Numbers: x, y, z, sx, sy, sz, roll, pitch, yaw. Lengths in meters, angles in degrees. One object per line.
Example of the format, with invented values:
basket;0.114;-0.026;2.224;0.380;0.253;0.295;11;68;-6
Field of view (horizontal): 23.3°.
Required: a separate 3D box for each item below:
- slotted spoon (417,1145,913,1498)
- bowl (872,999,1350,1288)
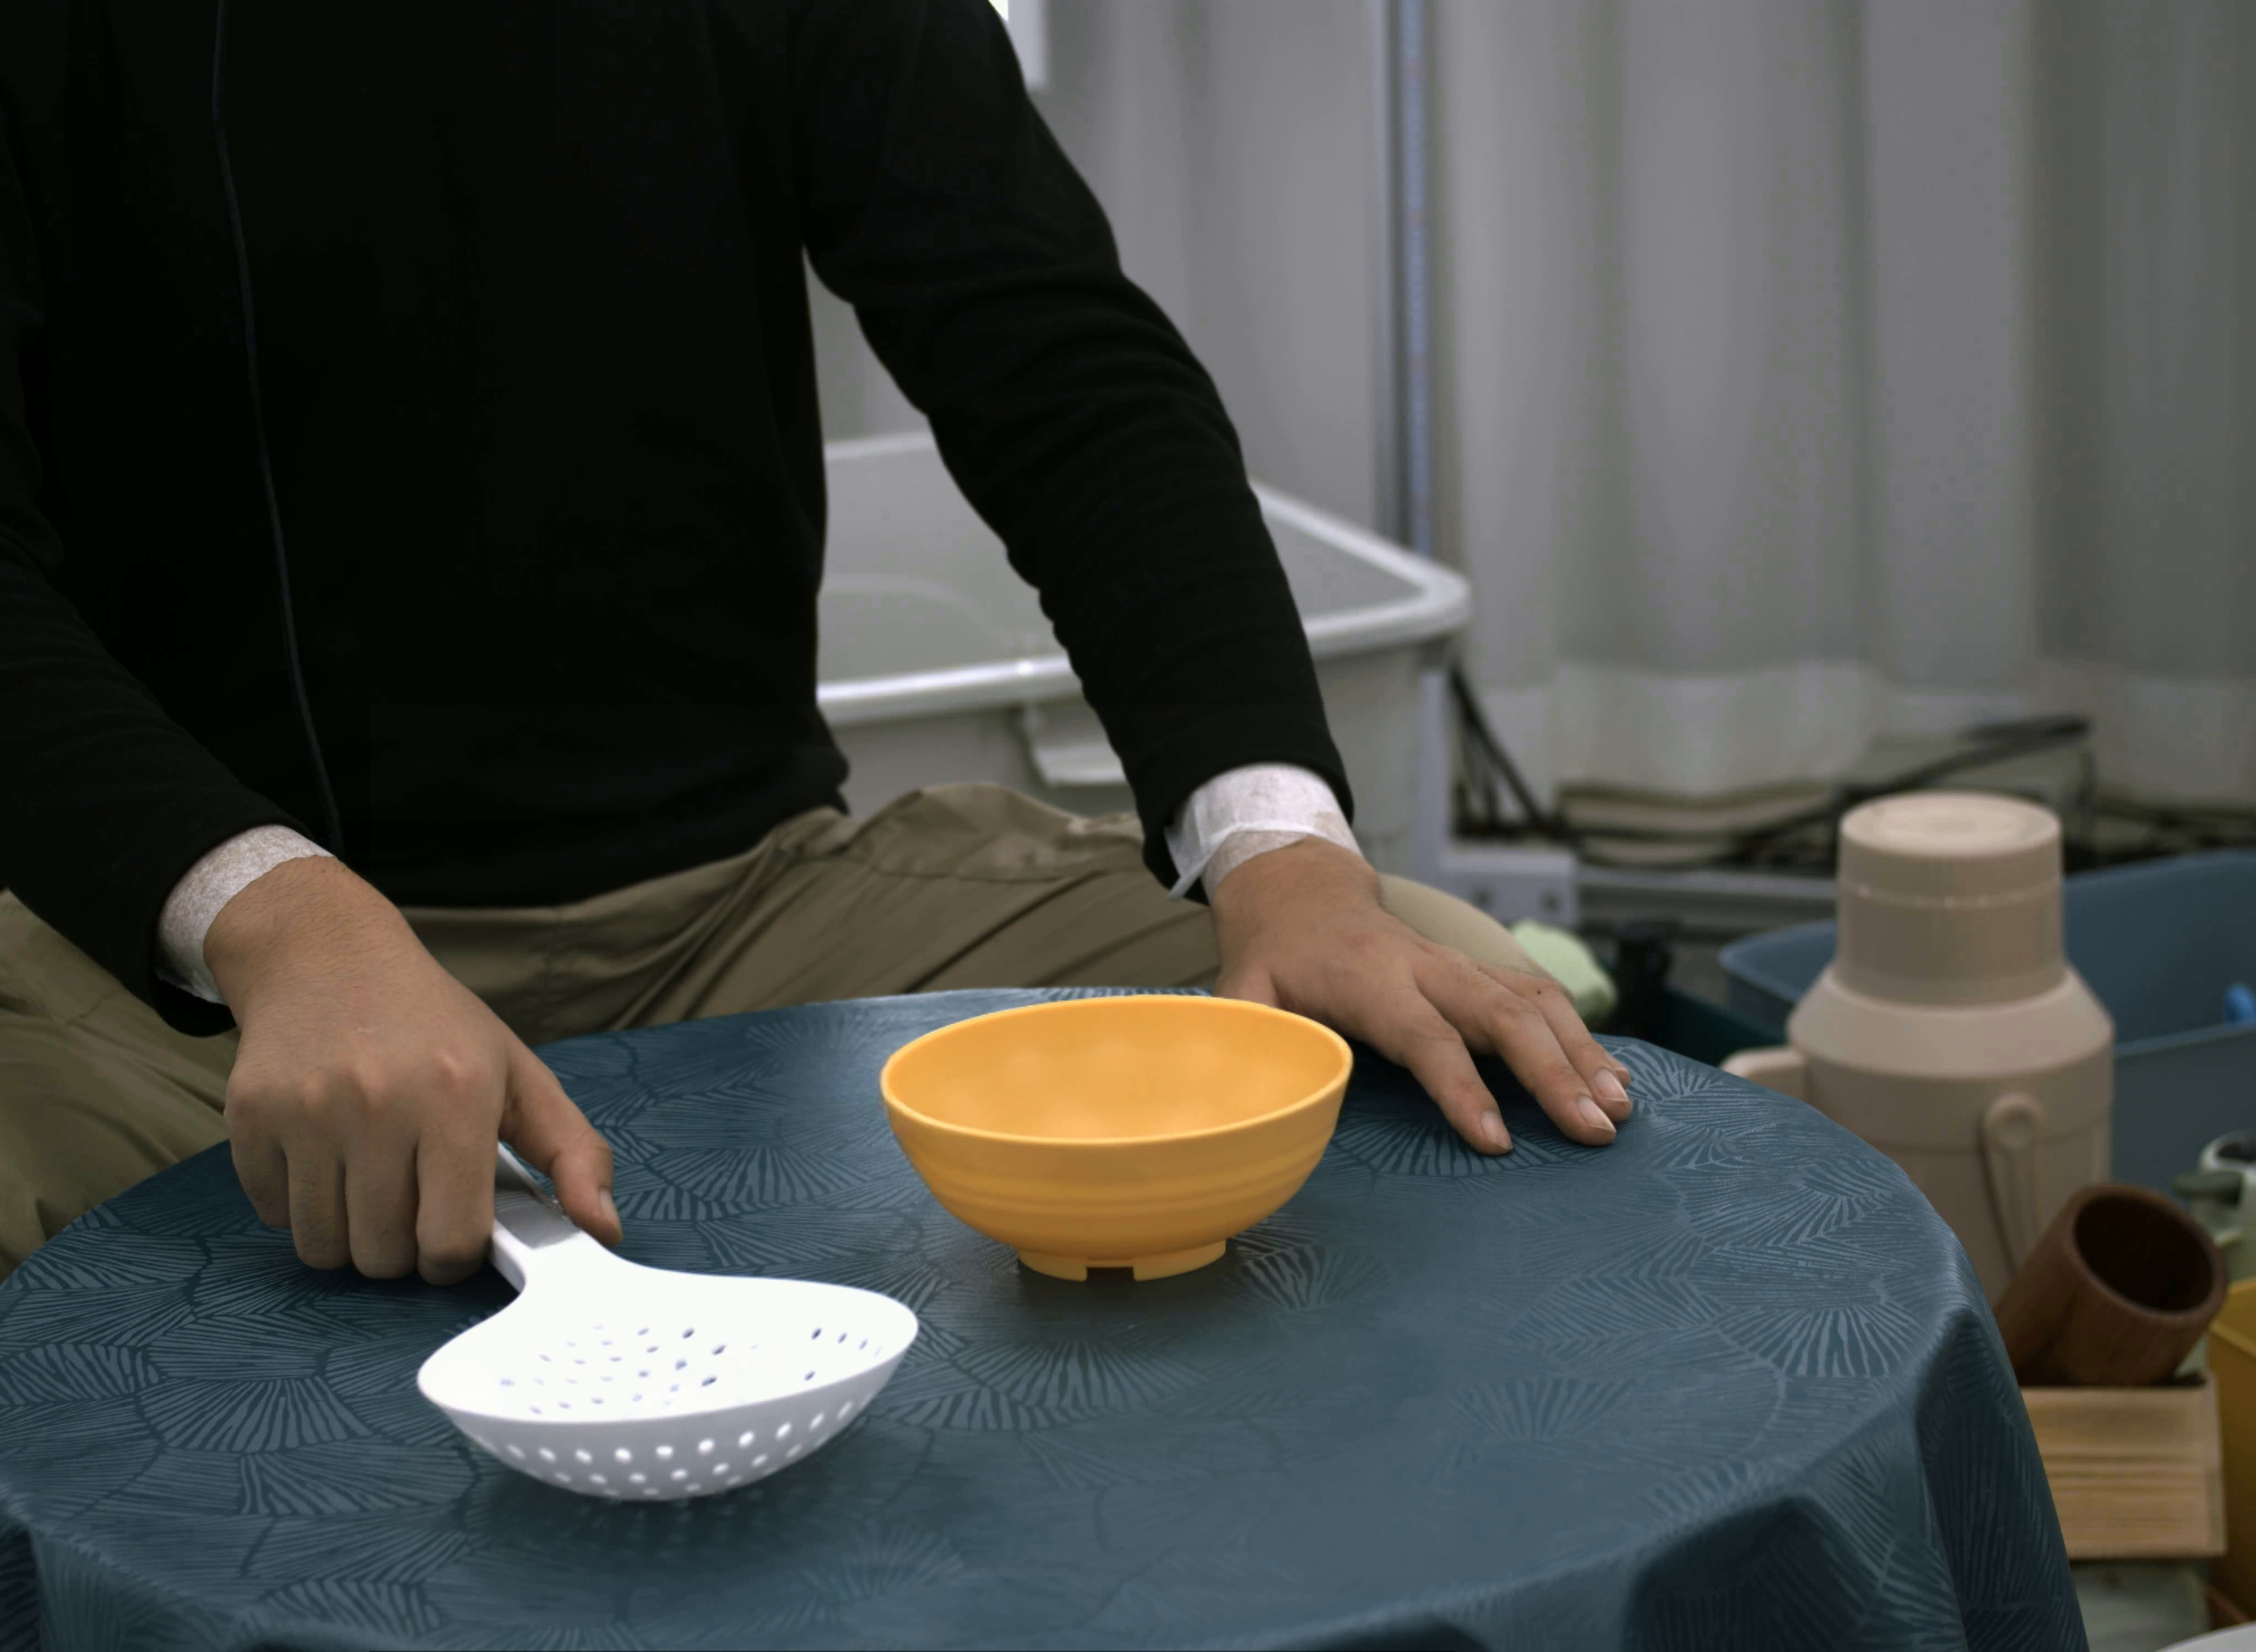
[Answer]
slotted spoon;-0.160;0.134;1.584;0.135;0.045;0.352;-9;15;-17
bowl;-0.005;0.101;1.657;0.145;0.060;0.146;-1;15;0
